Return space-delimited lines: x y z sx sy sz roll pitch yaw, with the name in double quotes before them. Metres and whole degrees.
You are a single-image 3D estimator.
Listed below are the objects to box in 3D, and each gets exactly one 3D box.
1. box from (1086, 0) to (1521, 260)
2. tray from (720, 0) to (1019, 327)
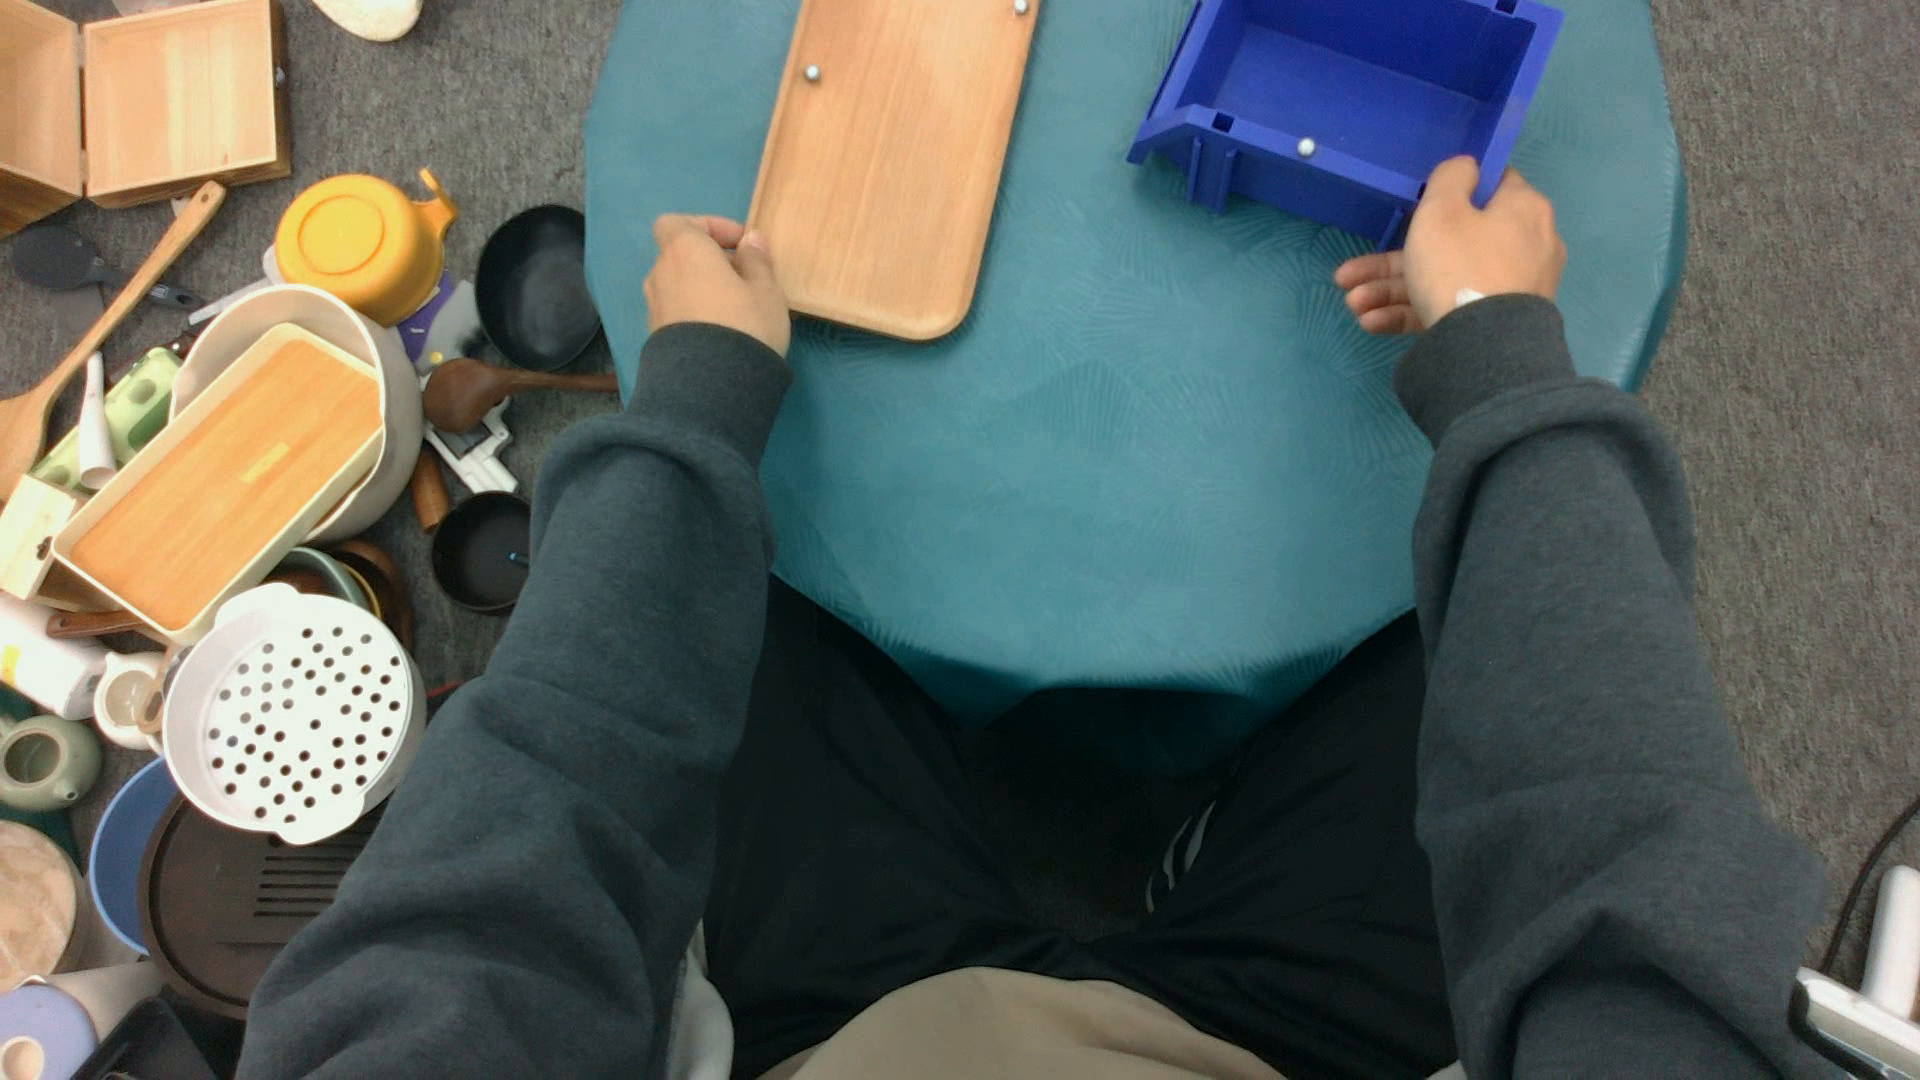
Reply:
"box" 0.172 -0.240 0.718 0.179 0.082 0.124 25 82 6
"tray" -0.045 -0.242 0.758 0.130 0.023 0.251 13 80 -1
